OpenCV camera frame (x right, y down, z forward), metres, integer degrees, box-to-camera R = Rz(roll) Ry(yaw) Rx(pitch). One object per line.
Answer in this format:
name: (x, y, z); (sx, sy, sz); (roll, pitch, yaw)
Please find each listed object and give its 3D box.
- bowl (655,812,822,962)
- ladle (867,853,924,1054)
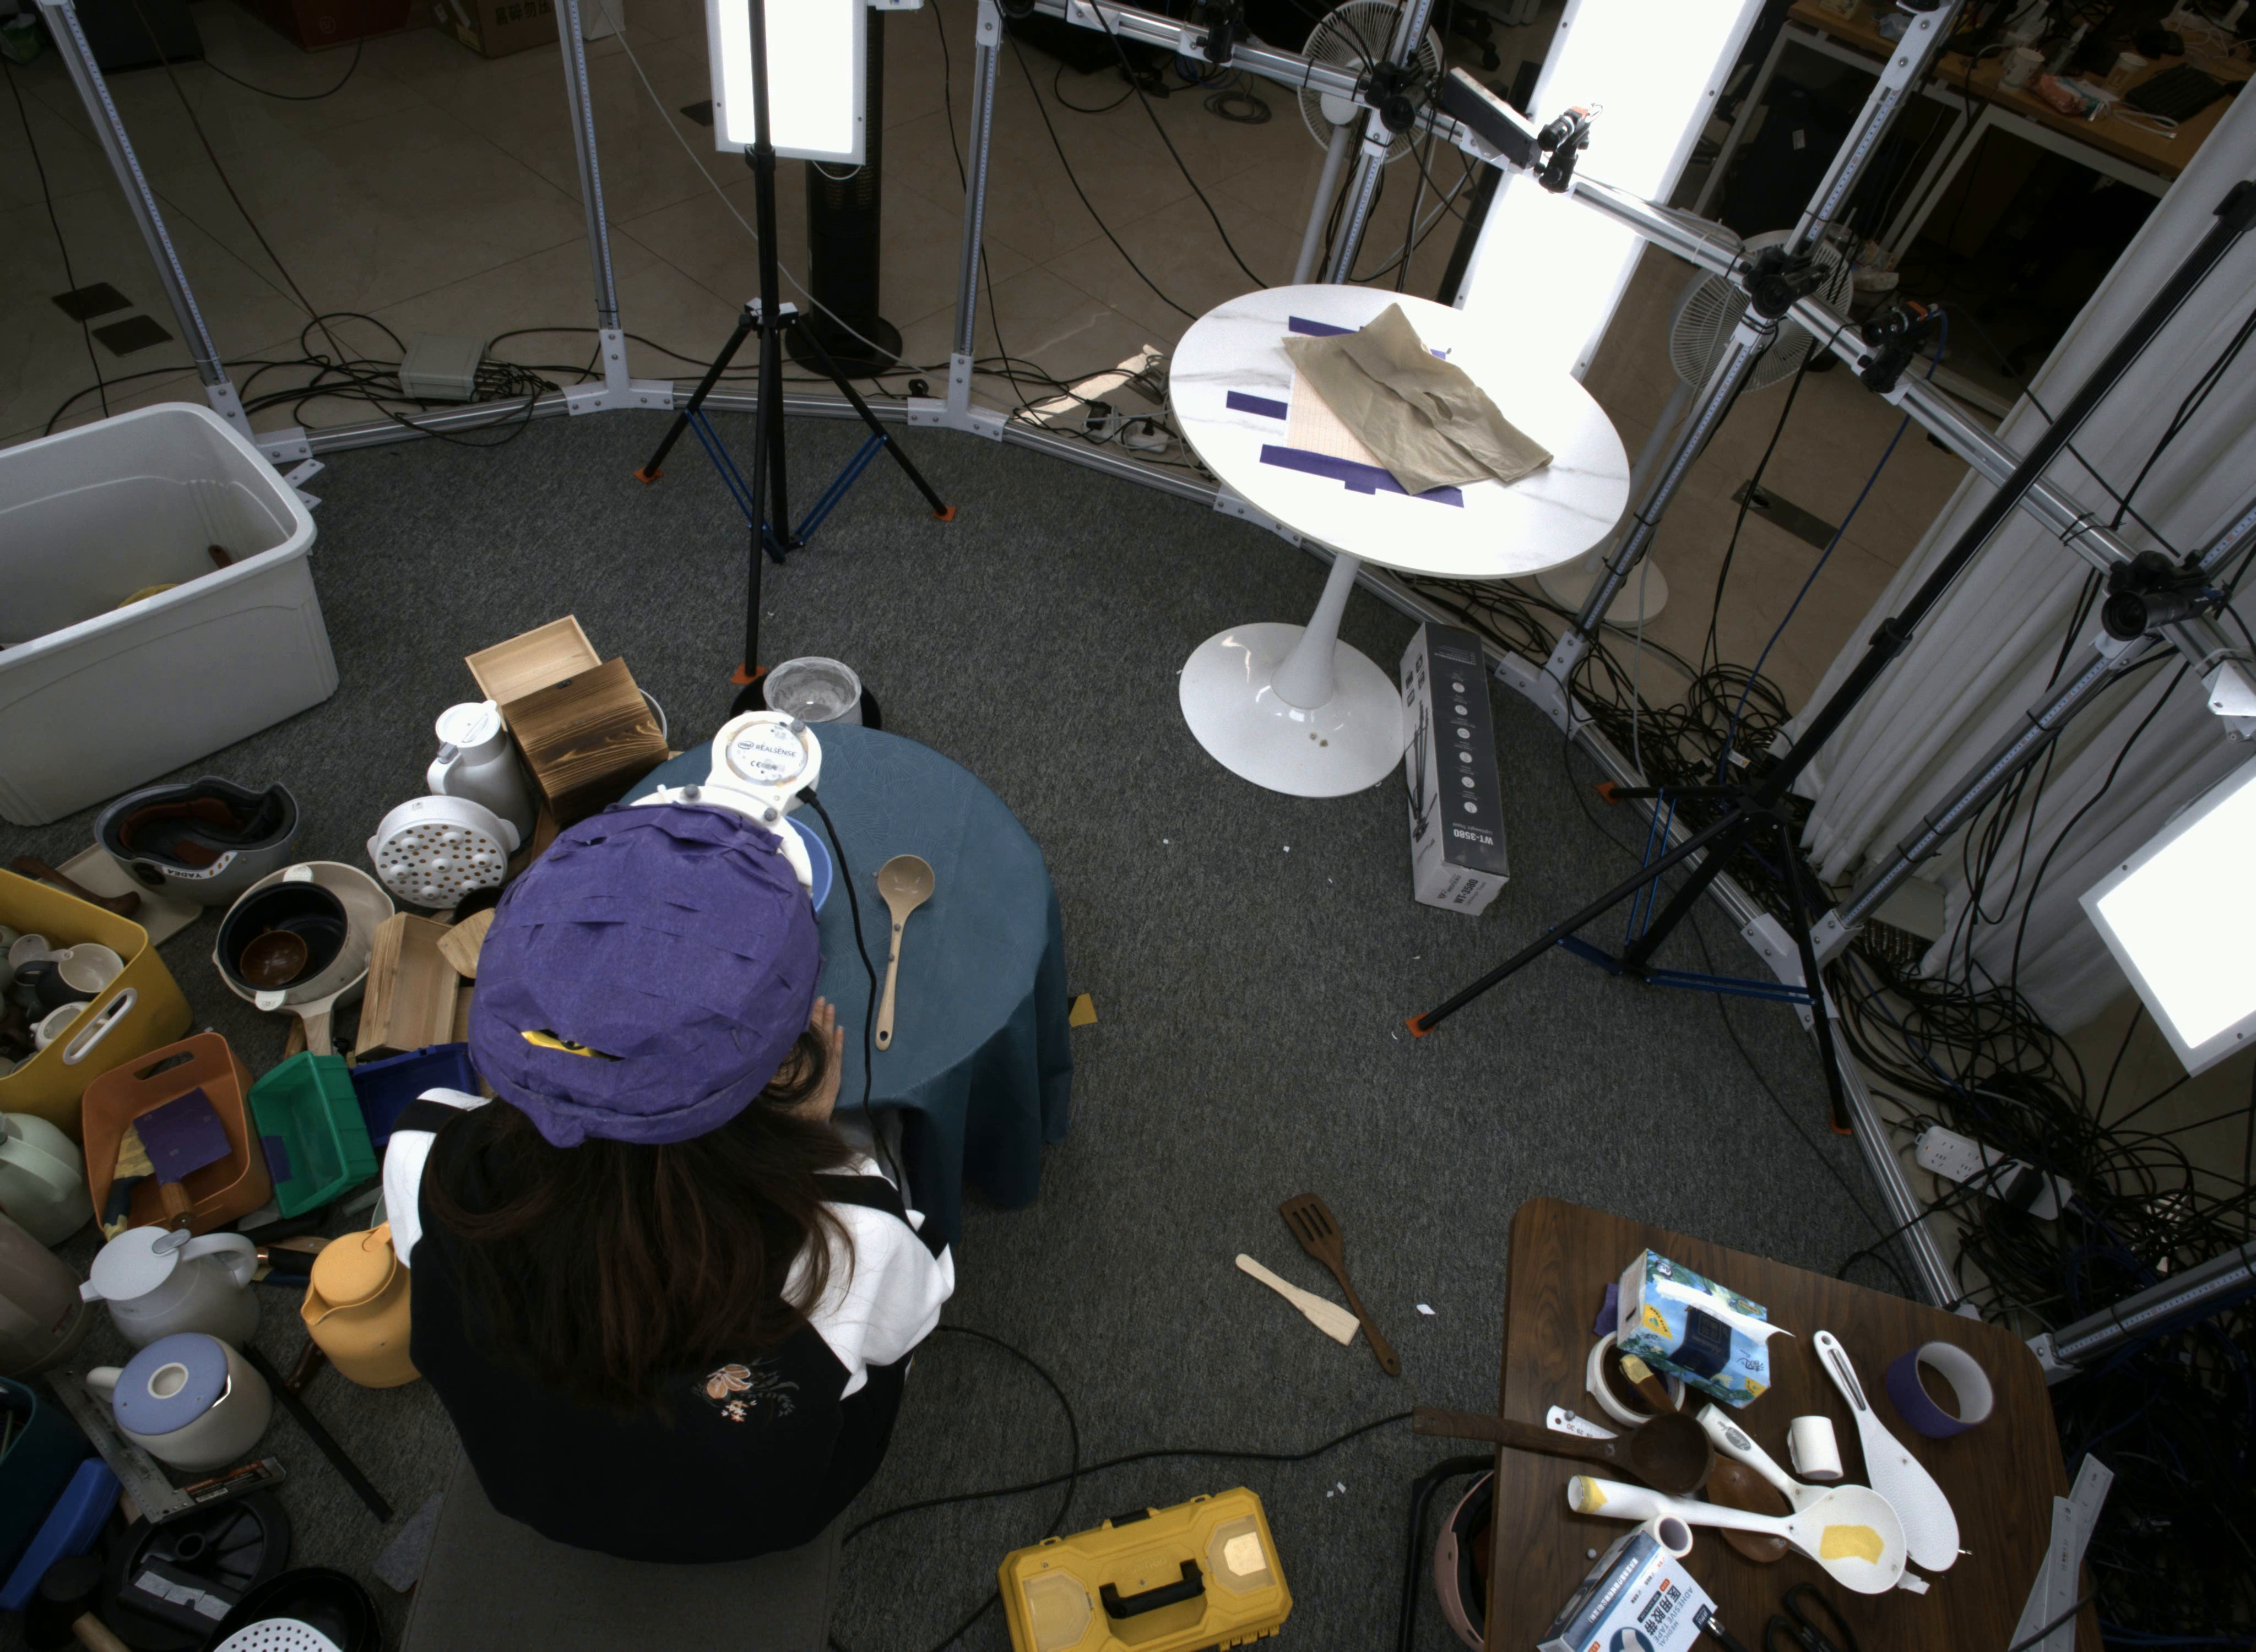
bowl: (-0.474, 0.088, 1.583); (0.196, 0.097, 0.193); (9, 52, -10)
ladle: (-0.292, 0.146, 1.598); (0.072, 0.074, 0.249); (8, 52, -15)
